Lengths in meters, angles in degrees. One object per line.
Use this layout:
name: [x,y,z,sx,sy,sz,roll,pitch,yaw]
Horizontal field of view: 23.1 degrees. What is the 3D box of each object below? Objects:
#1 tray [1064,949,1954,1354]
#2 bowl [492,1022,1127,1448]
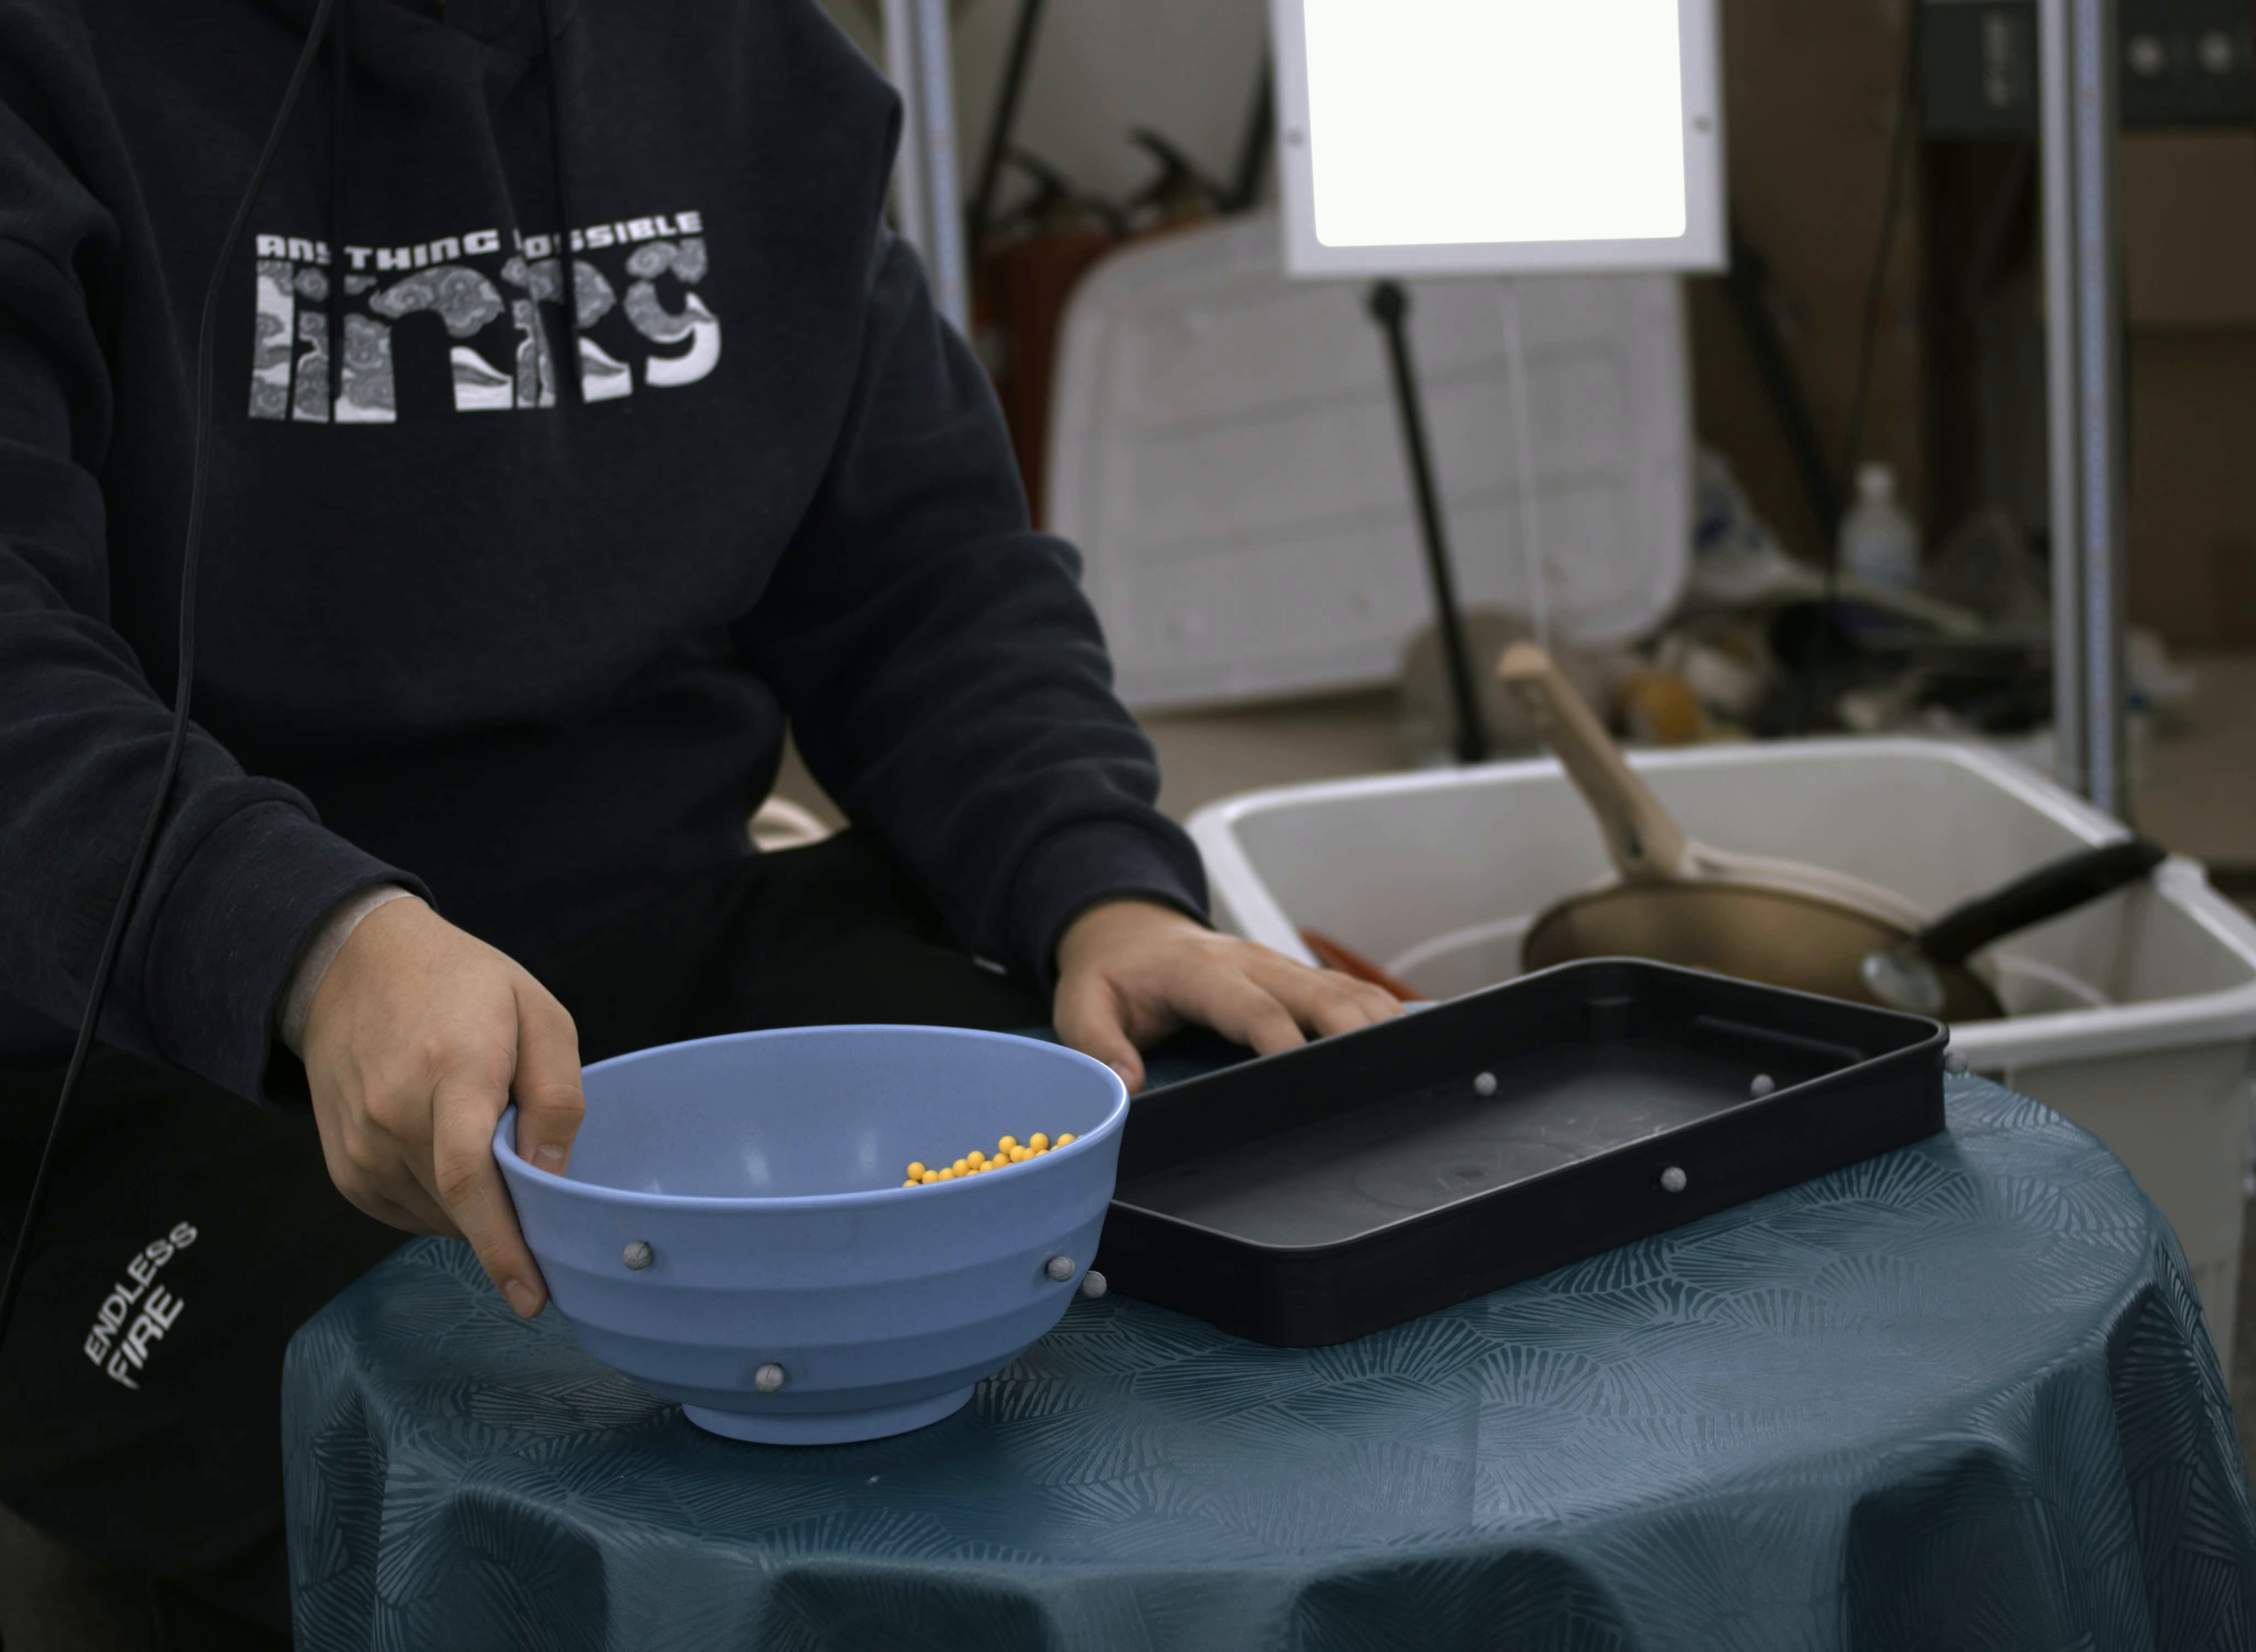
tray: [0.120,0.105,1.873,0.310,0.037,0.188,-17,17,-37]
bowl: [-0.095,0.132,1.704,0.196,0.096,0.196,-5,14,0]
